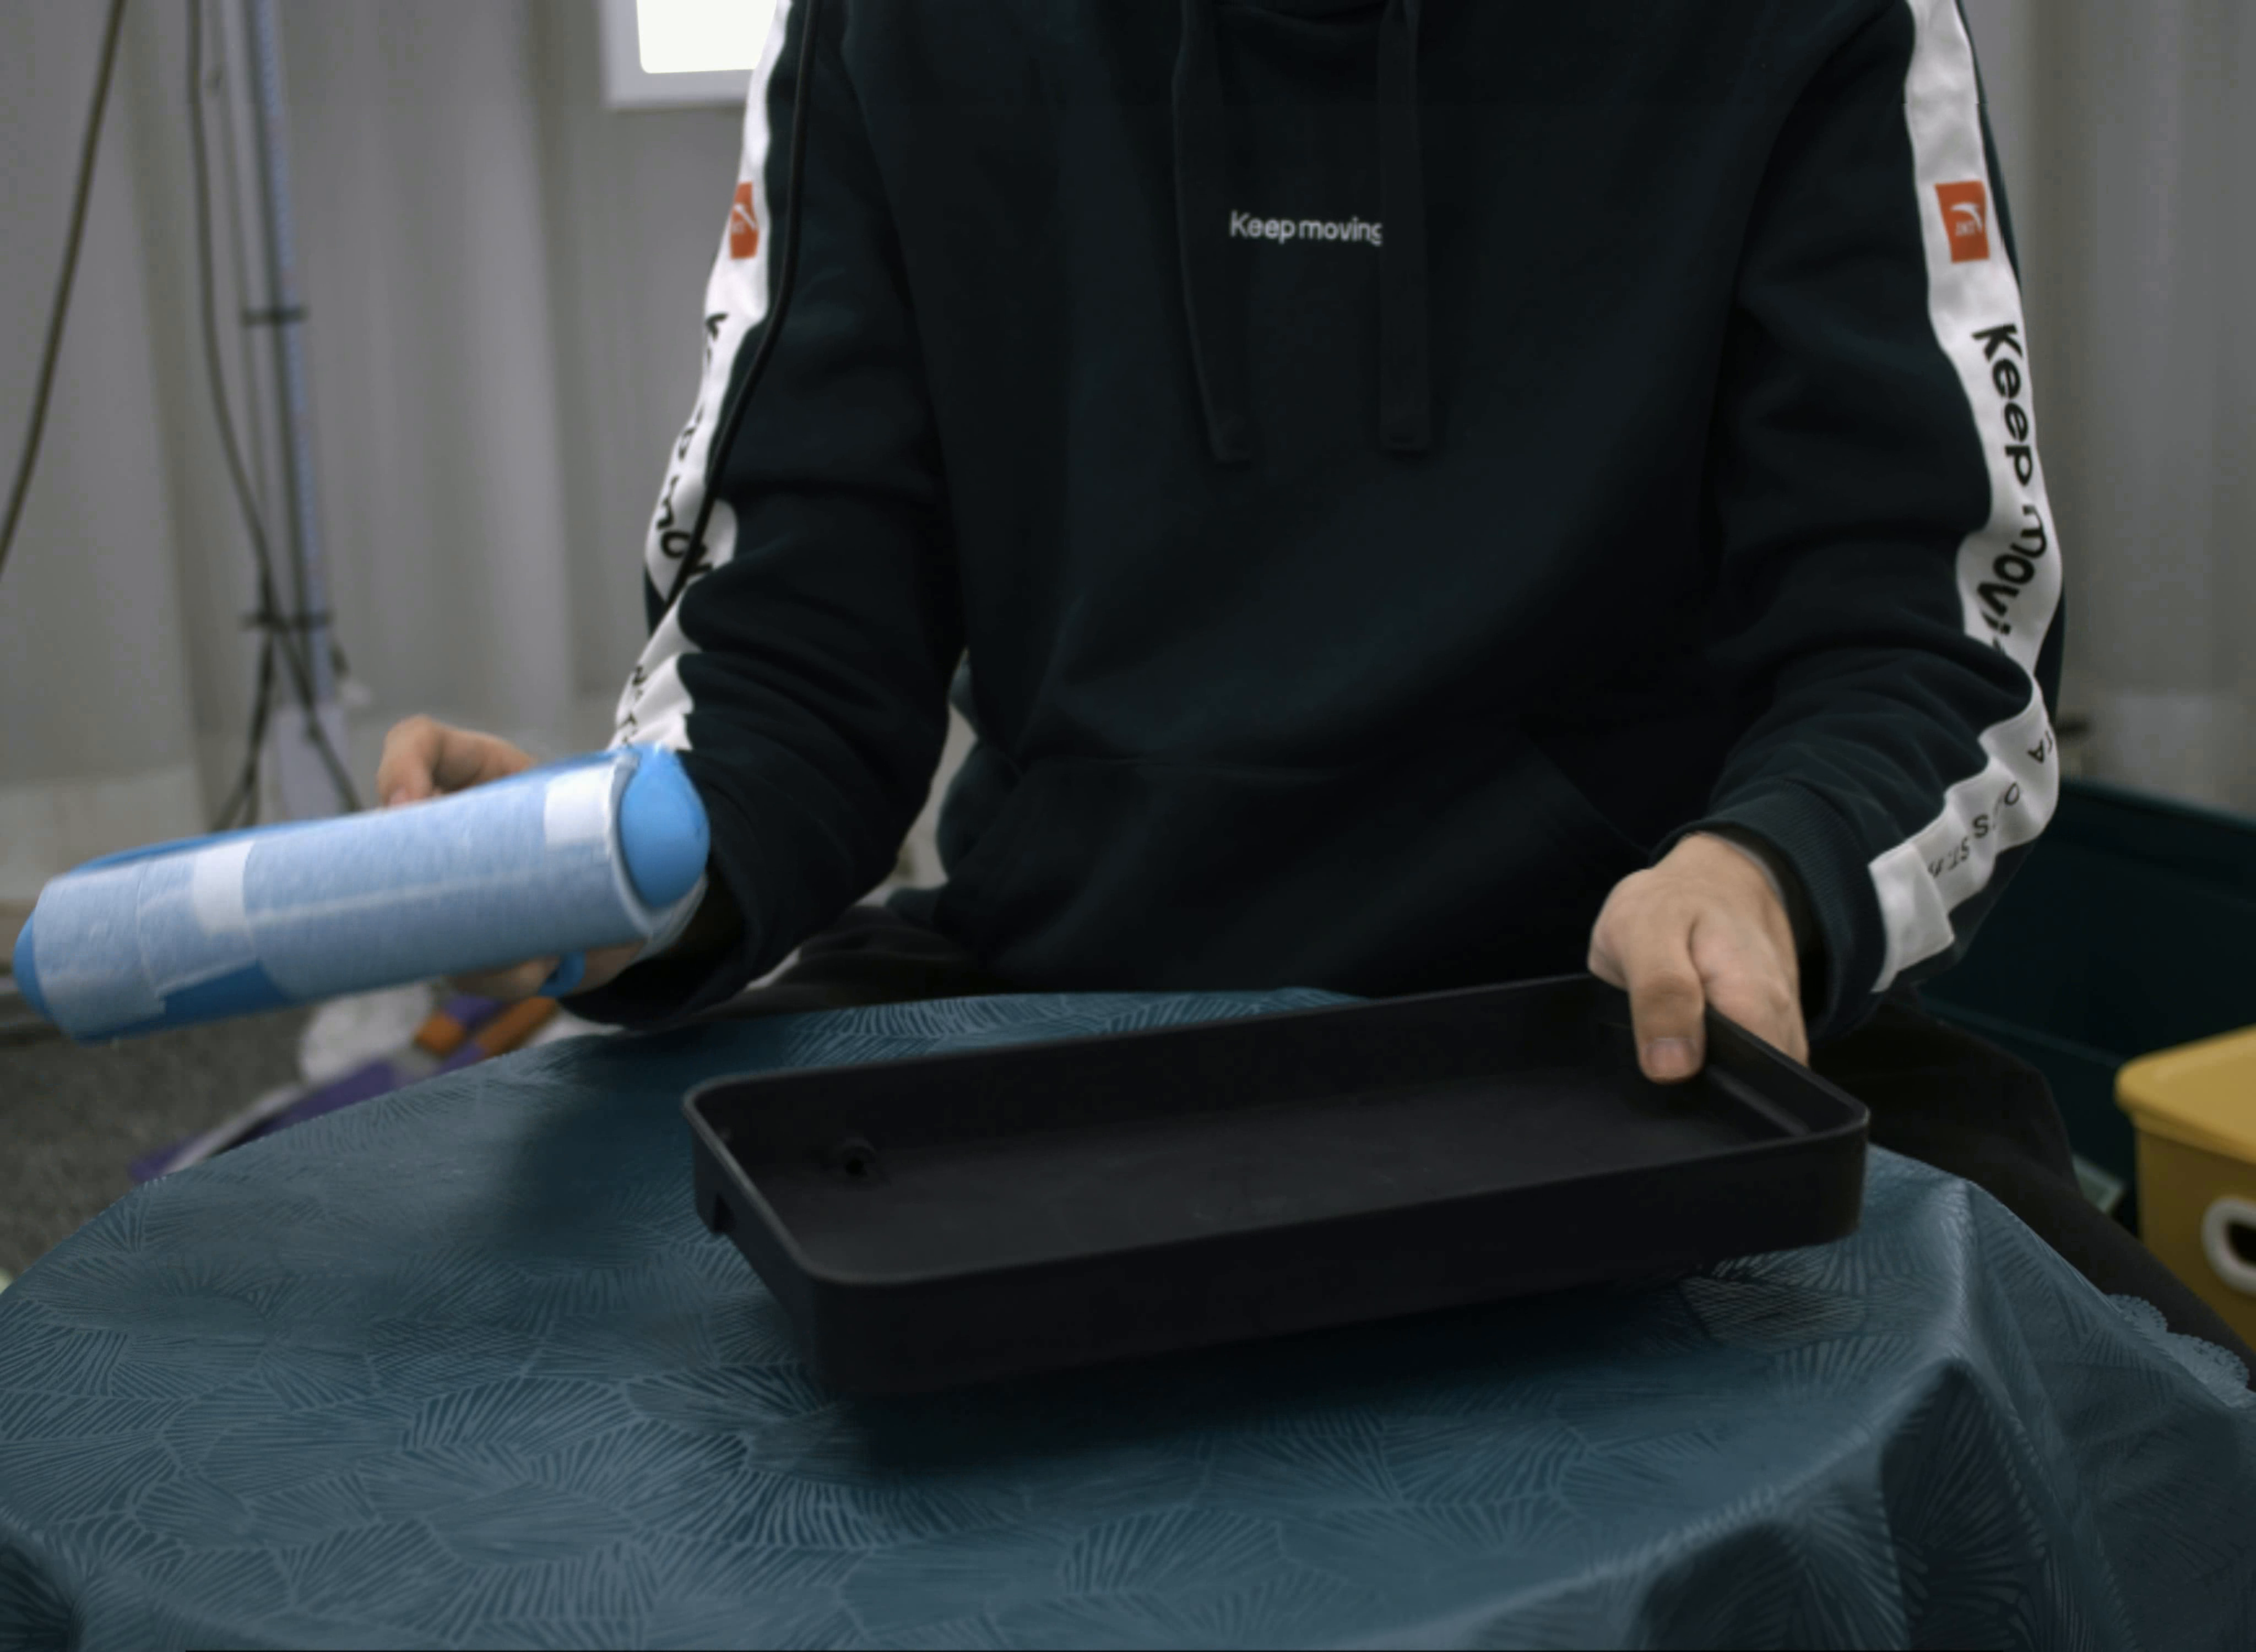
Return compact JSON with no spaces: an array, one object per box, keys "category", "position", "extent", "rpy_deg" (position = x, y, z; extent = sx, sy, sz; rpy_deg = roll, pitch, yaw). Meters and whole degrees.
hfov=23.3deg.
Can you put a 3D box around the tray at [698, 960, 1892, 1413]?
[{"category":"tray","position":[0.047,0.100,1.591],"extent":[0.316,0.037,0.186],"rpy_deg":[-9,16,-17]}]

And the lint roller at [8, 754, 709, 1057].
[{"category":"lint roller","position":[-0.222,0.028,1.722],"extent":[0.228,0.068,0.179],"rpy_deg":[-13,-5,13]}]
